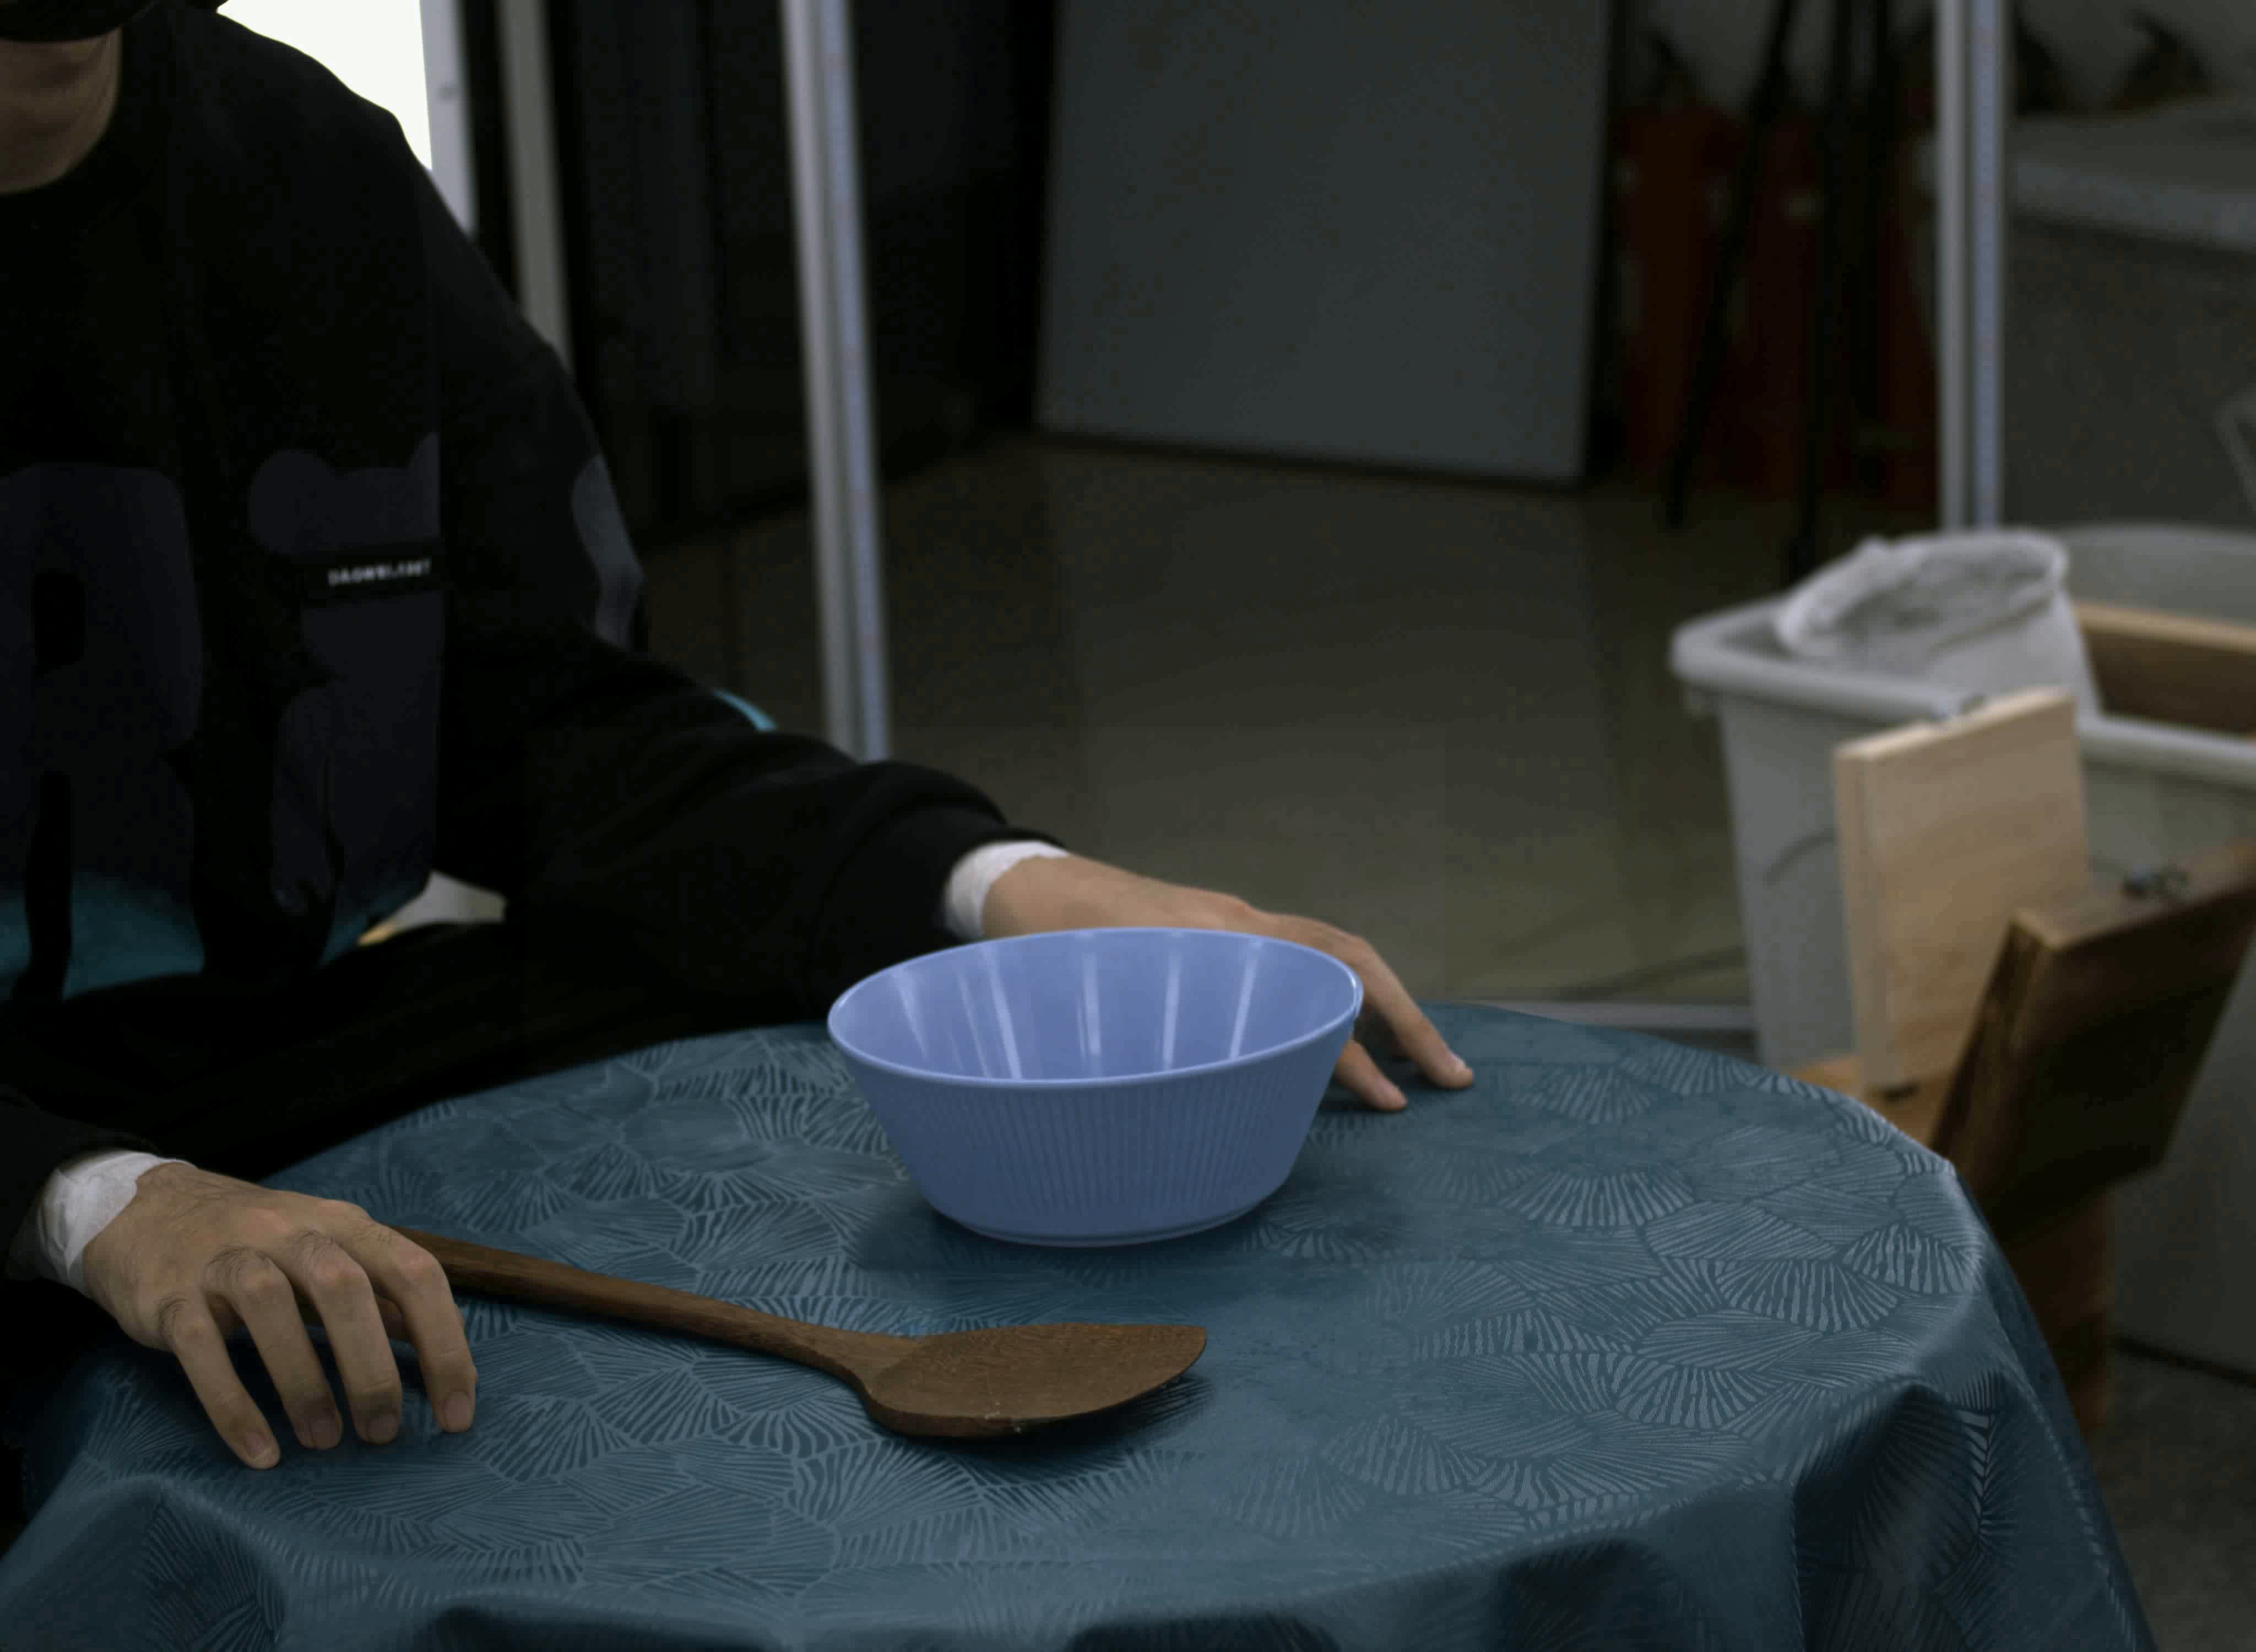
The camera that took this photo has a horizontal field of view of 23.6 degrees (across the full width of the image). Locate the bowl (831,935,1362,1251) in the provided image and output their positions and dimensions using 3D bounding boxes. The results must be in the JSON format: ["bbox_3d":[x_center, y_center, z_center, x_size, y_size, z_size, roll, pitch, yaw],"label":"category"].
[{"bbox_3d":[-0.008,0.089,1.759,0.174,0.071,0.176,-5,13,0],"label":"bowl"}]

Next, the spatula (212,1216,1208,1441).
[{"bbox_3d":[-0.145,0.150,1.669,0.388,0.016,0.094,6,17,37],"label":"spatula"}]
